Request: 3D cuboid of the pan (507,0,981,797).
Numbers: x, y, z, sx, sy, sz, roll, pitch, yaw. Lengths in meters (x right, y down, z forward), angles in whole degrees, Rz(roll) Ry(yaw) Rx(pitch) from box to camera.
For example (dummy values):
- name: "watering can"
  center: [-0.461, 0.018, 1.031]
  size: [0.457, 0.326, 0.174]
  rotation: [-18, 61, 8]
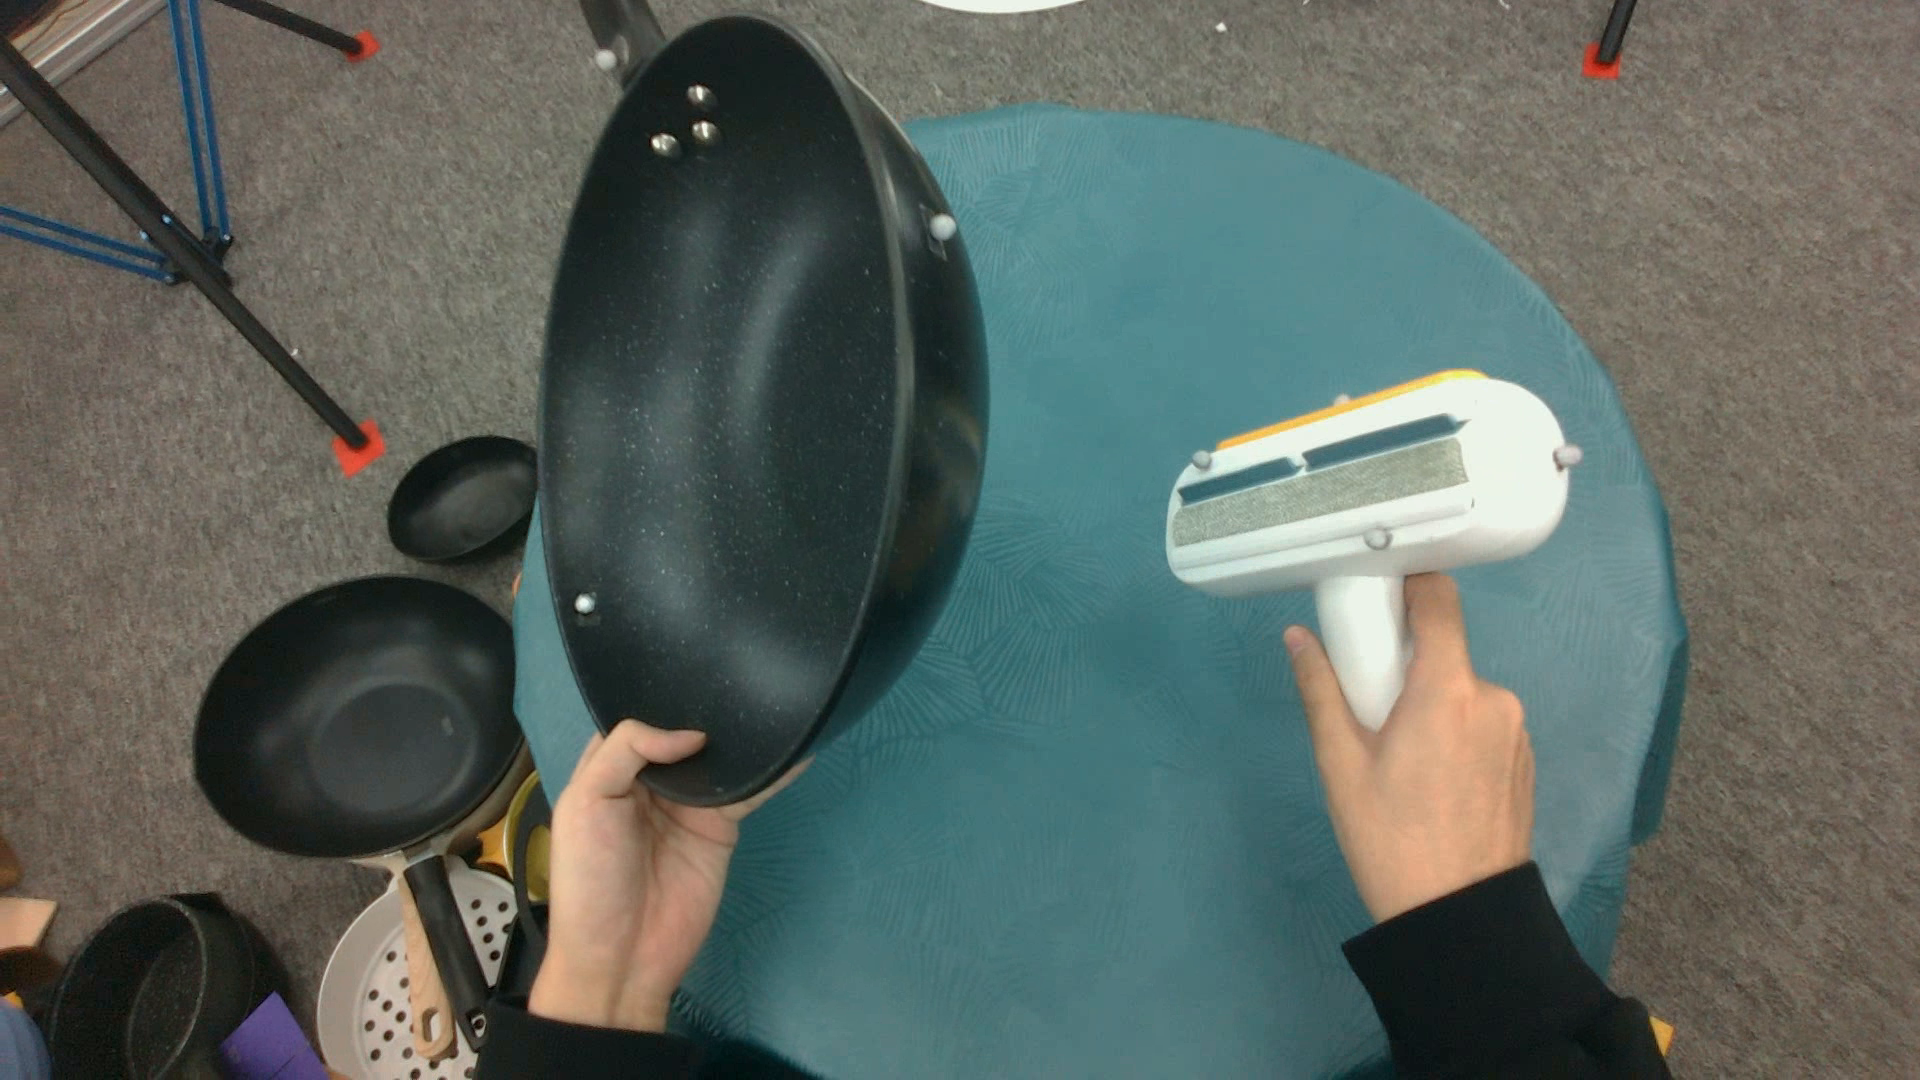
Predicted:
- name: "pan"
  center: [-0.115, -0.134, 0.579]
  size: [0.112, 0.309, 0.478]
  rotation: [0, 69, -40]

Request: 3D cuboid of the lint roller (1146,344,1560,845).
- name: "lint roller"
  center: [0.155, 0.028, 0.552]
  size: [0.074, 0.192, 0.192]
  rotation: [-1, 88, -34]
